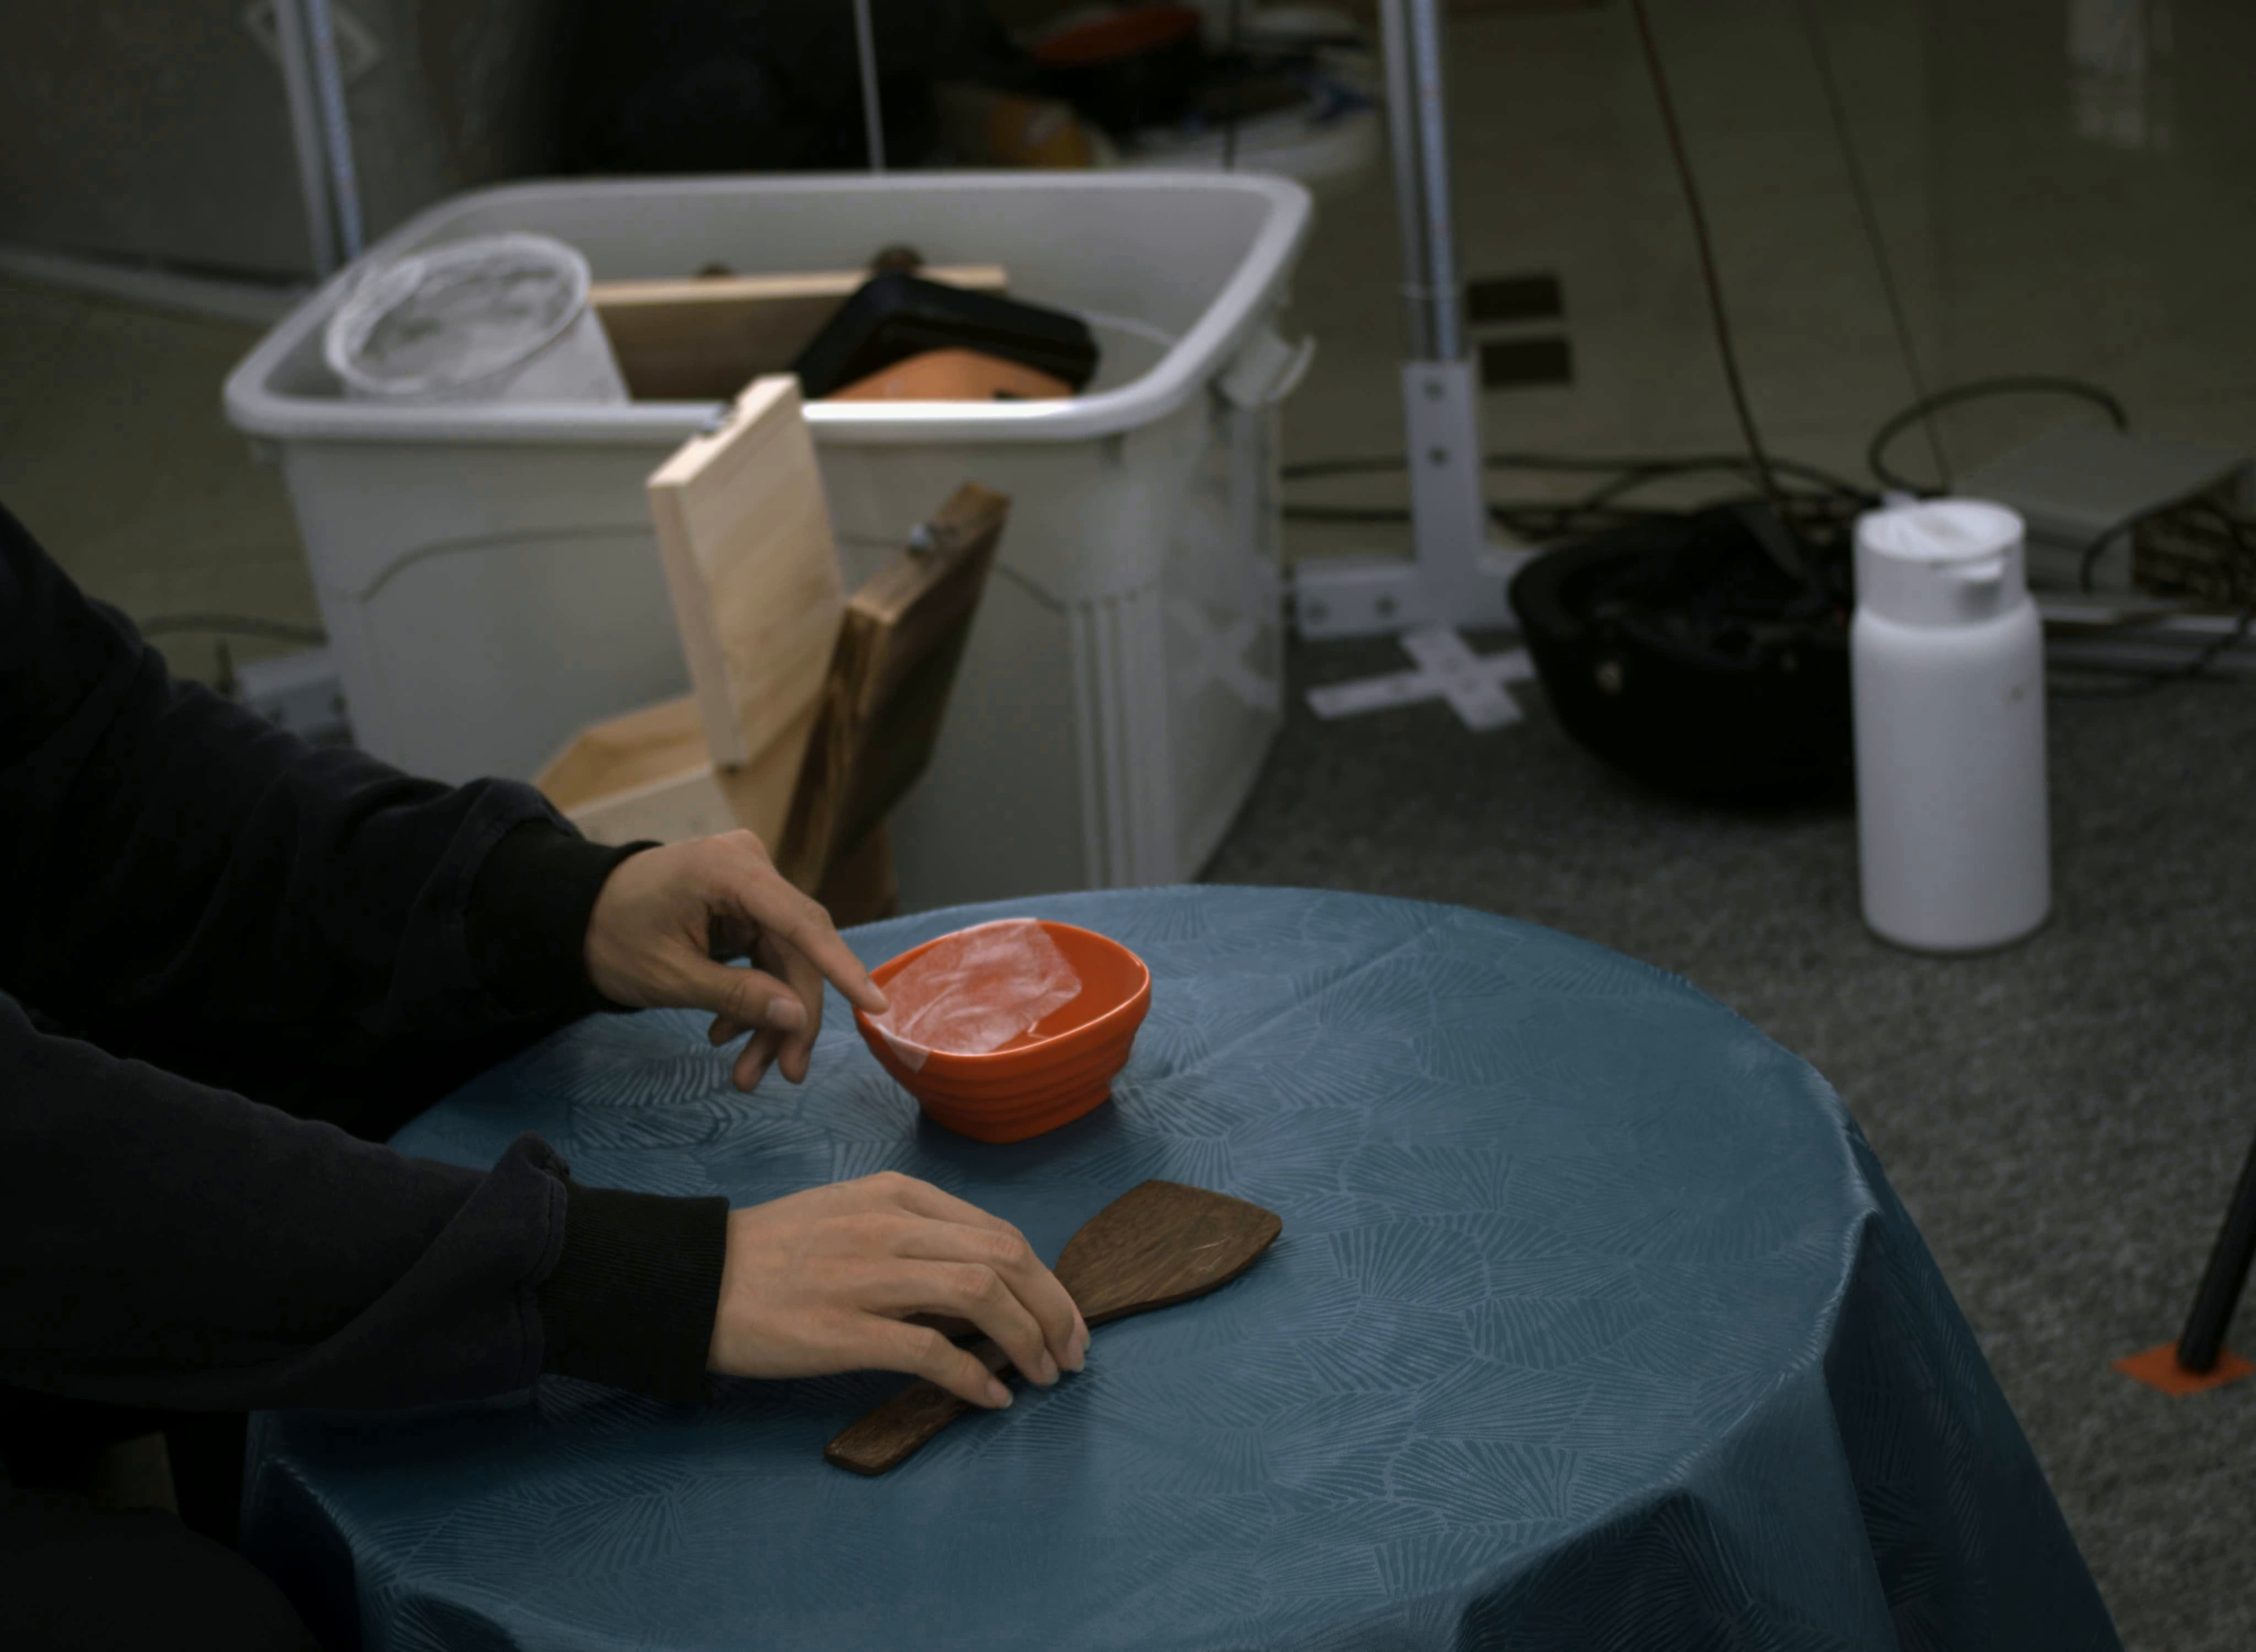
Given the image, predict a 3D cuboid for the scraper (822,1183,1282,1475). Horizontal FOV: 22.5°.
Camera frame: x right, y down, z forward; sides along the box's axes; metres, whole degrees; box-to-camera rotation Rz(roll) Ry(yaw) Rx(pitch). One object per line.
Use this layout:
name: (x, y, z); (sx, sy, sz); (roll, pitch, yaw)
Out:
scraper: (-0.033, 0.183, 2.057); (0.075, 0.011, 0.209); (14, 32, 39)

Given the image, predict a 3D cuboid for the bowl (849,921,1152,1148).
bowl: (-0.048, 0.086, 2.220); (0.119, 0.052, 0.117); (-4, 26, 2)
